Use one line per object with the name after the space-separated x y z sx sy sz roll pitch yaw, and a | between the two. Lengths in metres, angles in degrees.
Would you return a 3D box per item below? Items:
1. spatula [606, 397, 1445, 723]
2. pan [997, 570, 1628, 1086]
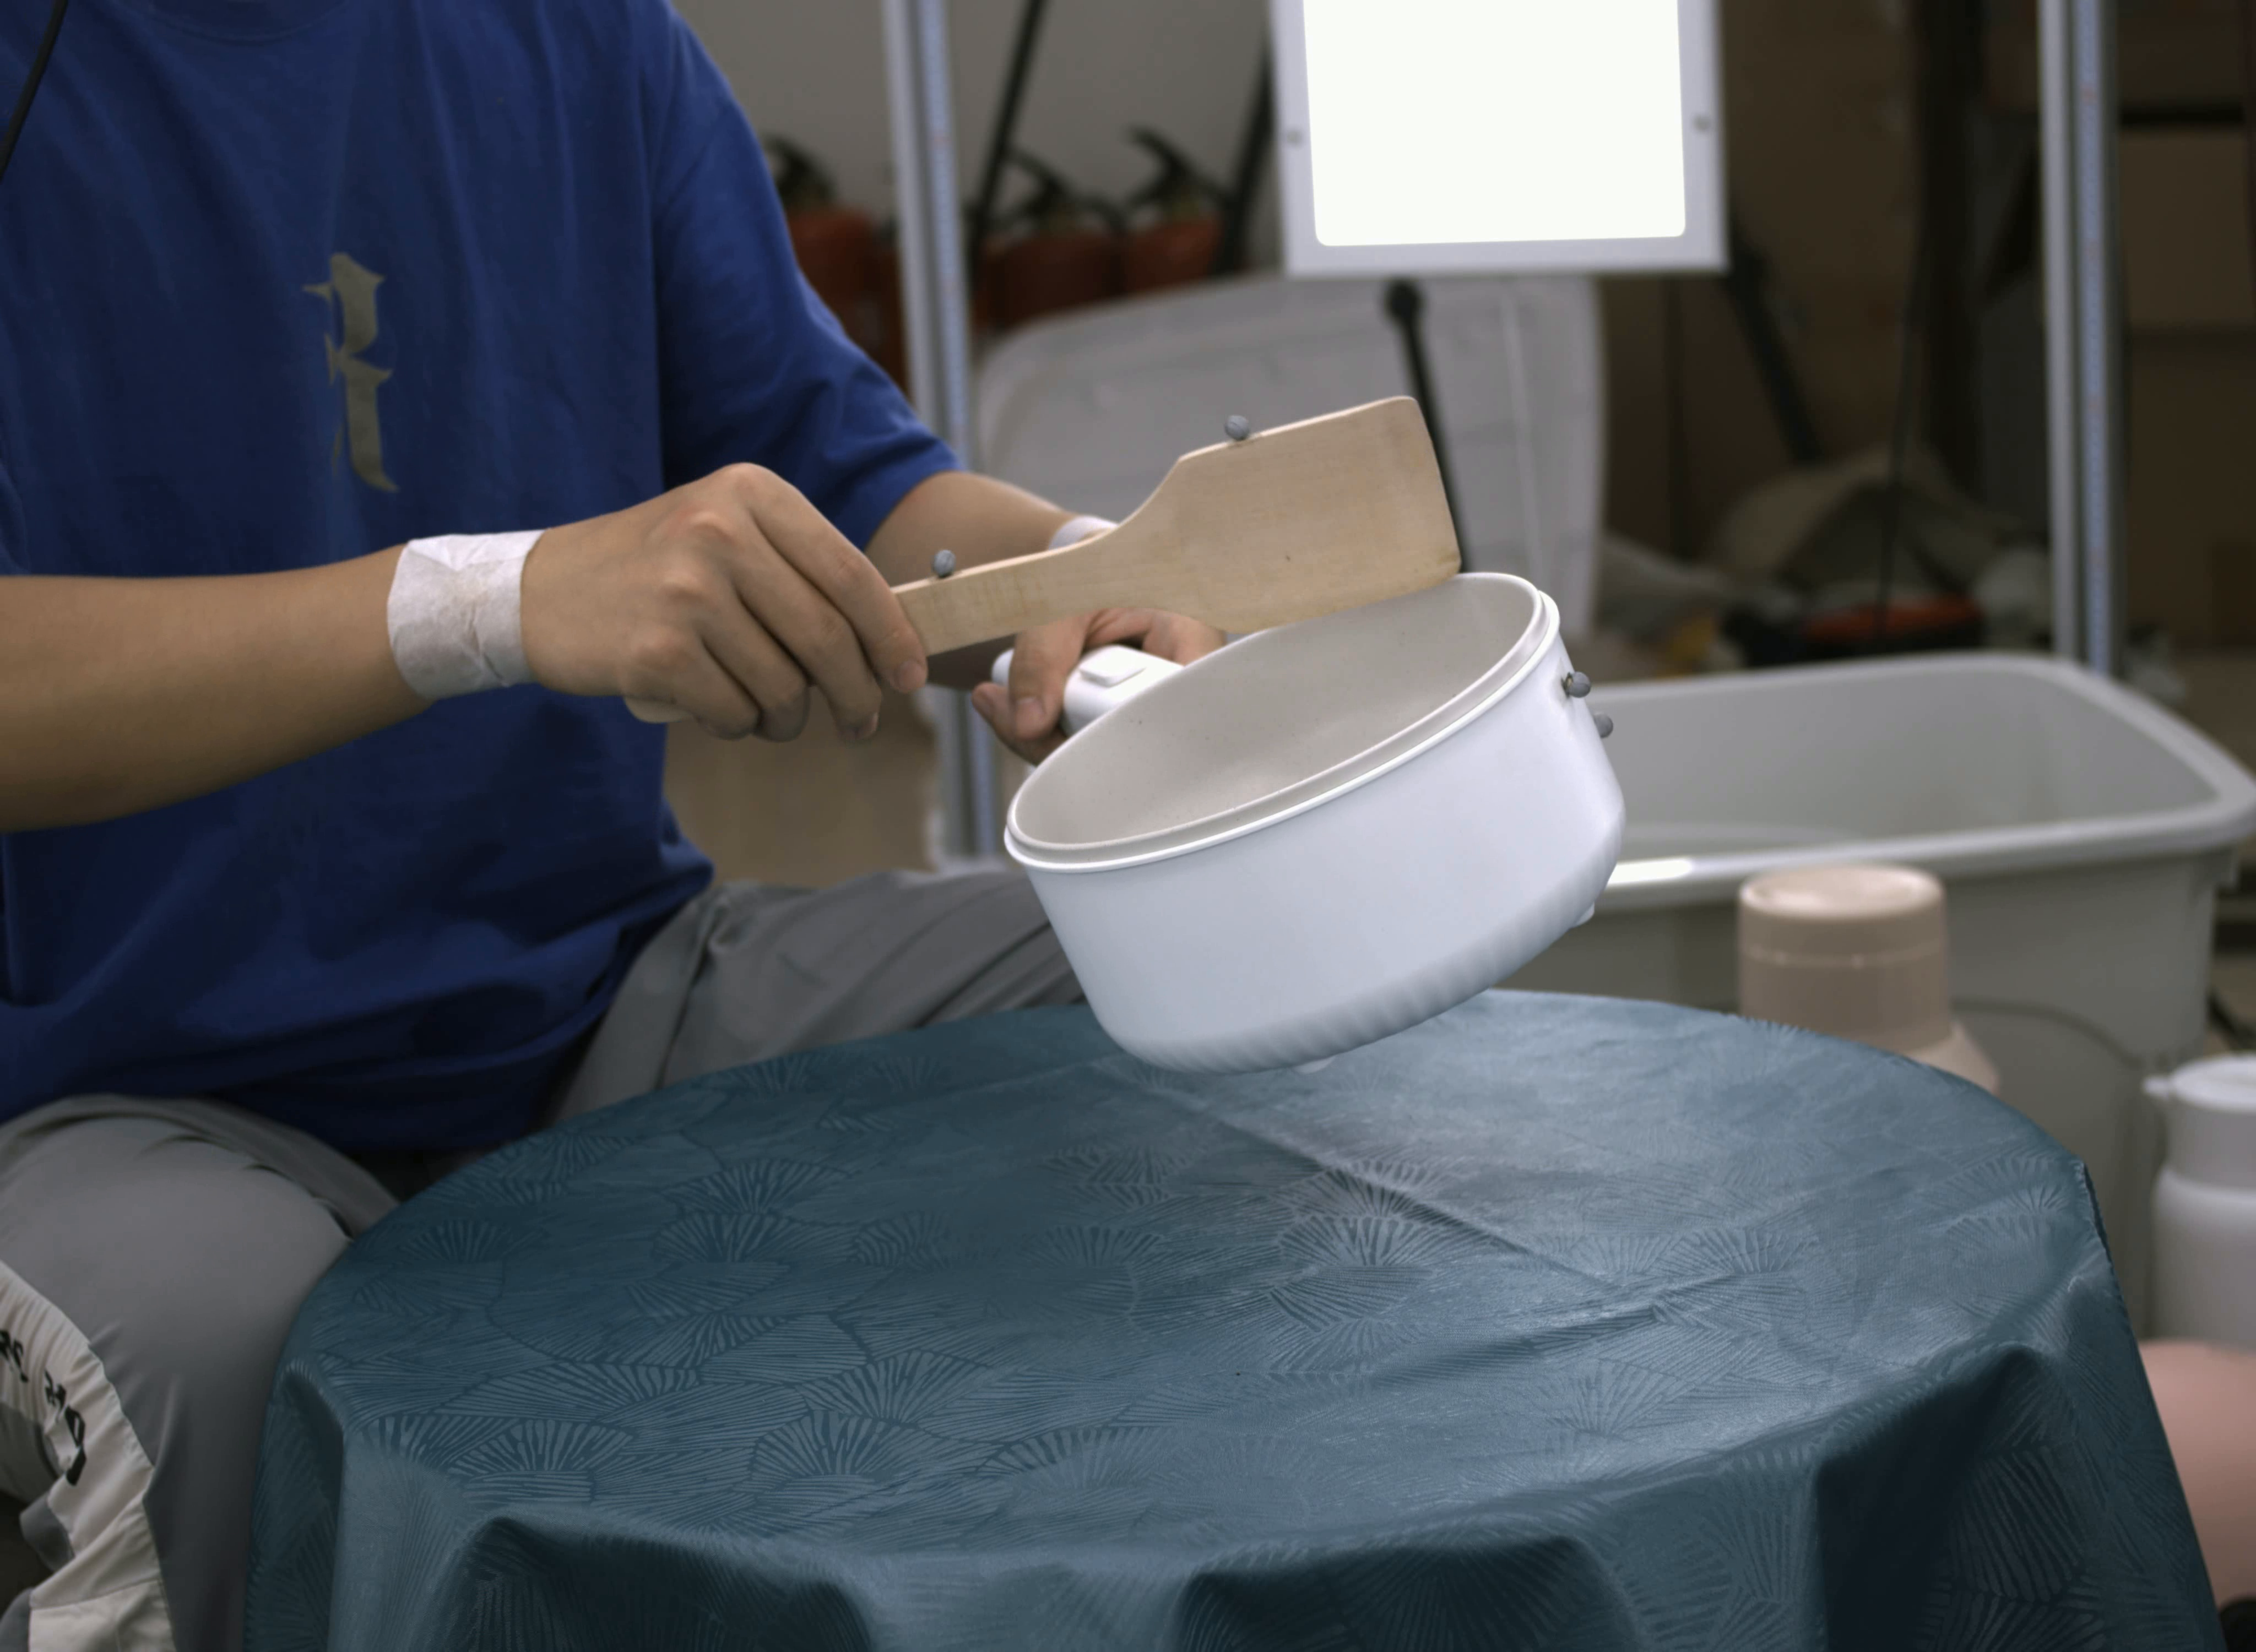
-0.039 -0.081 1.885 0.294 0.072 0.010 -14 24 9 | spatula
0.042 -0.005 1.924 0.199 0.102 0.359 -31 17 -13 | pan
